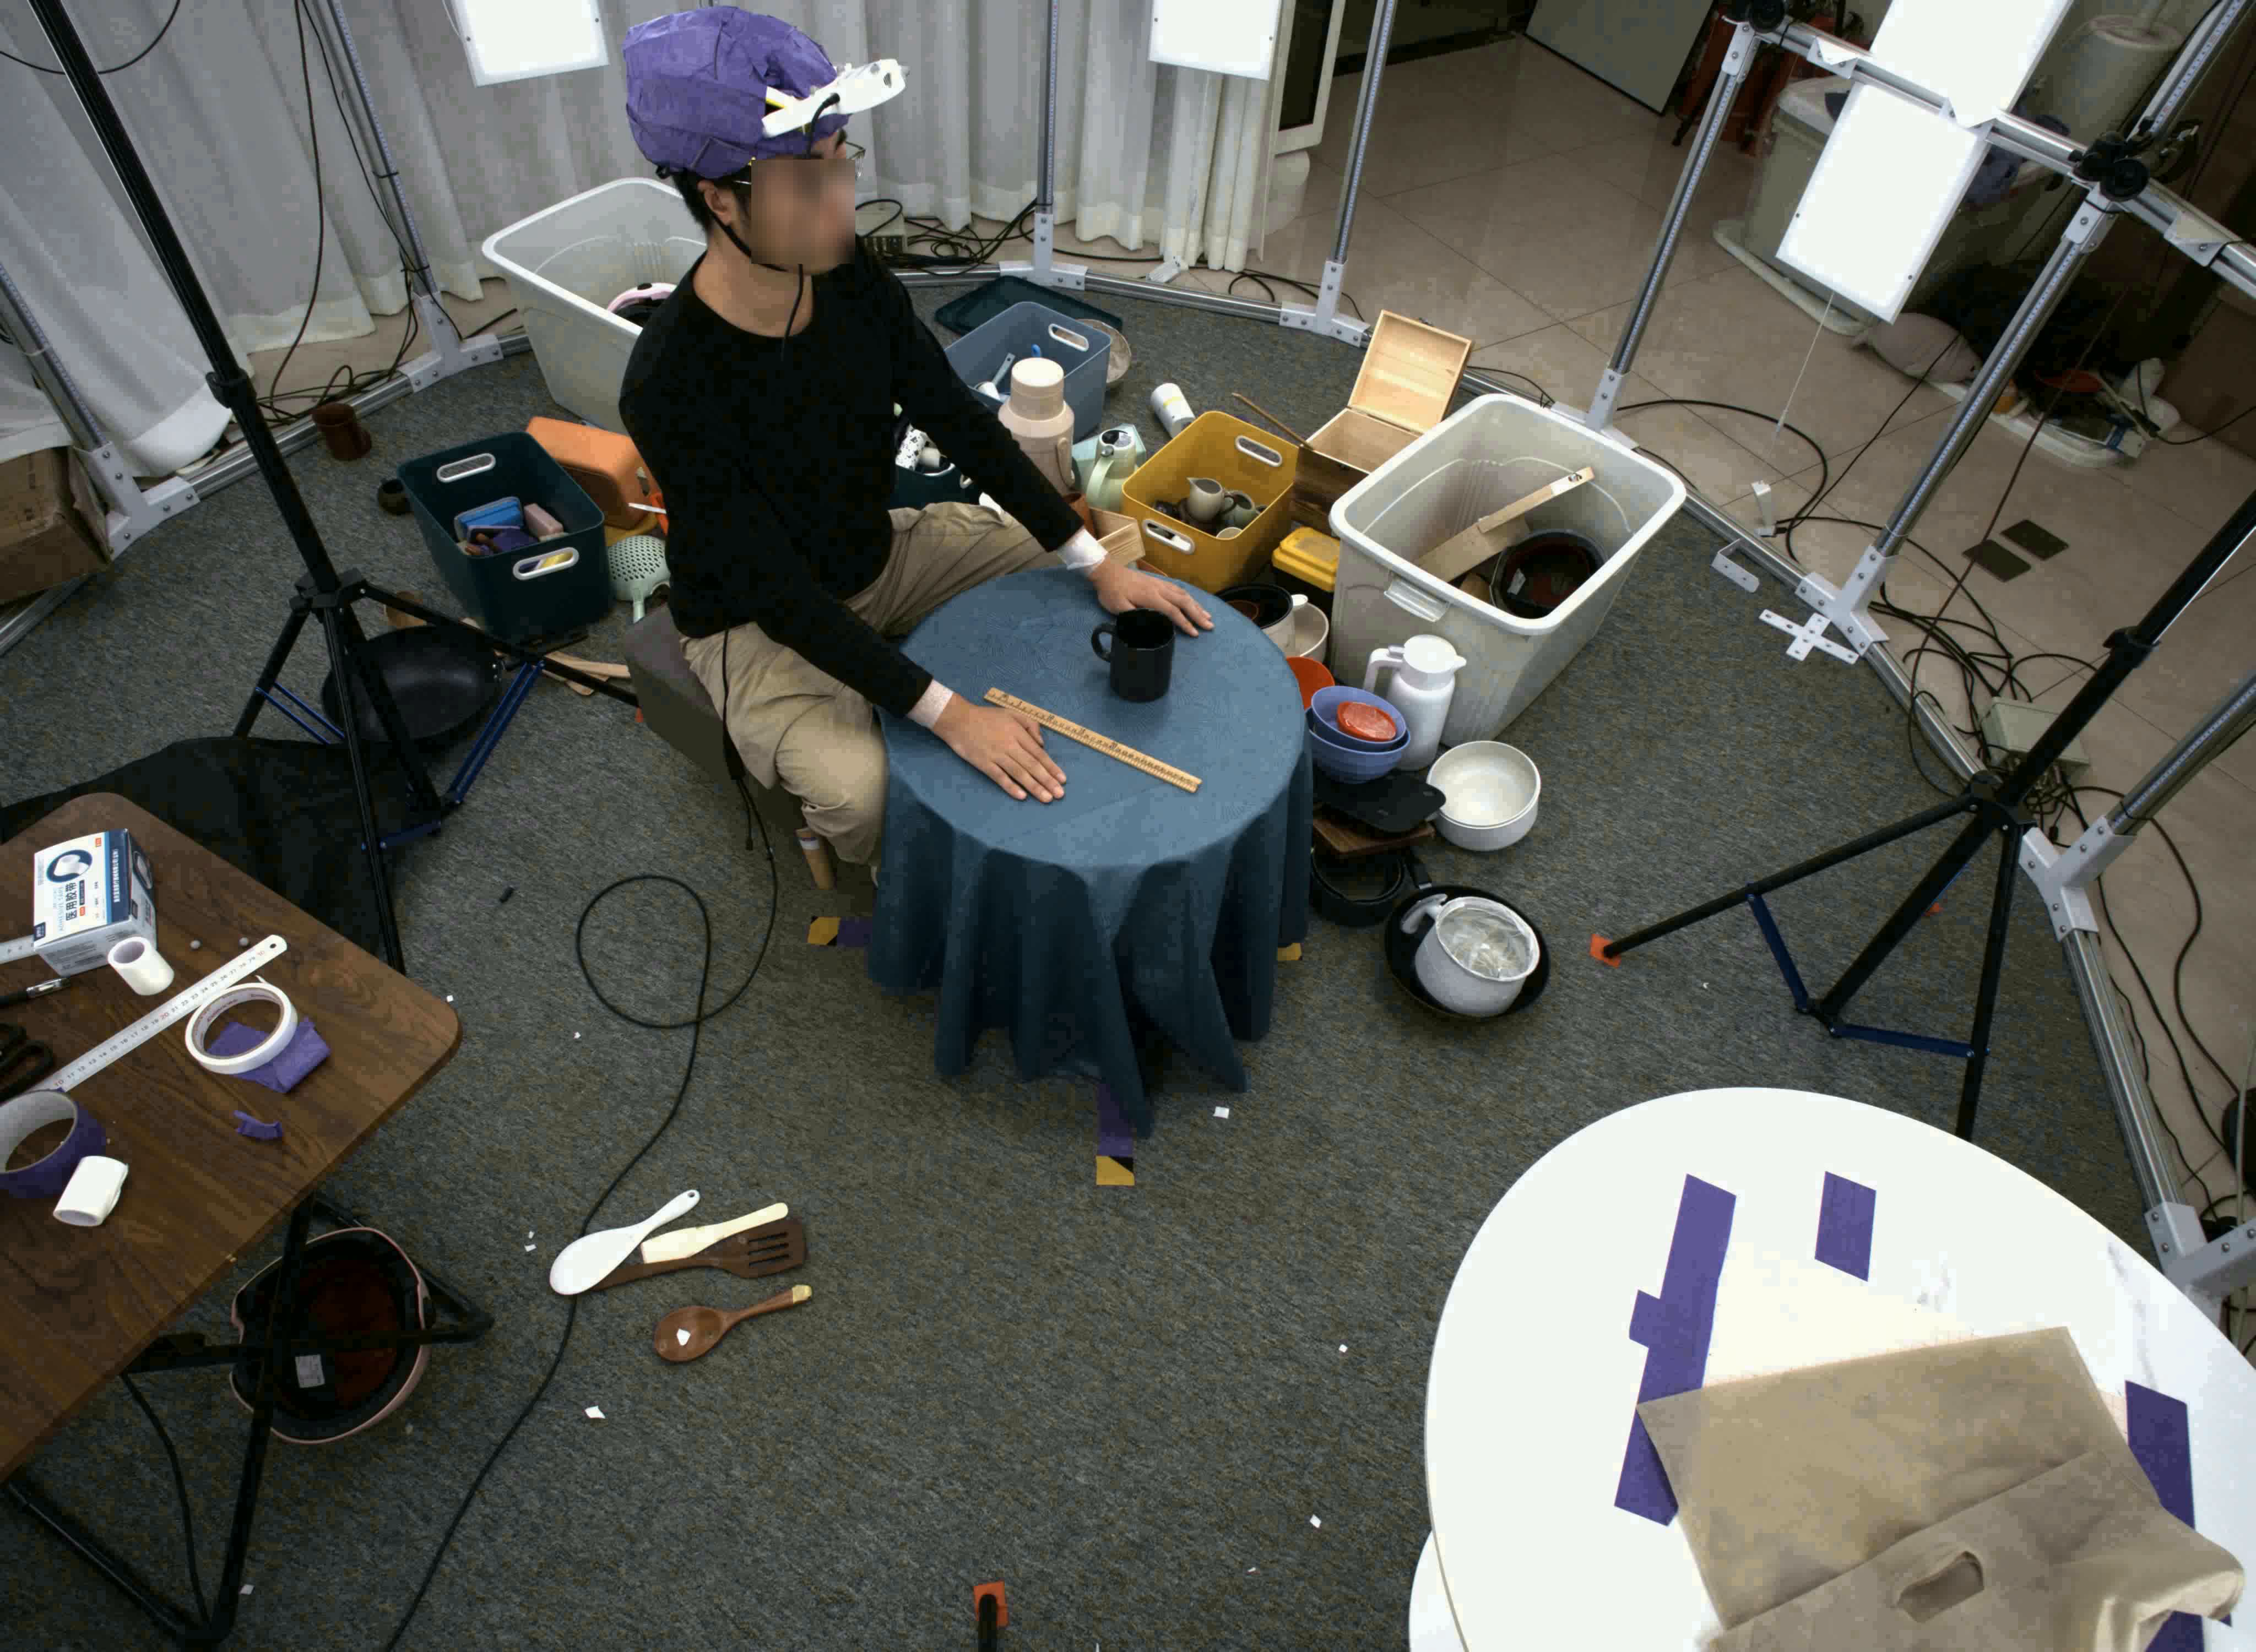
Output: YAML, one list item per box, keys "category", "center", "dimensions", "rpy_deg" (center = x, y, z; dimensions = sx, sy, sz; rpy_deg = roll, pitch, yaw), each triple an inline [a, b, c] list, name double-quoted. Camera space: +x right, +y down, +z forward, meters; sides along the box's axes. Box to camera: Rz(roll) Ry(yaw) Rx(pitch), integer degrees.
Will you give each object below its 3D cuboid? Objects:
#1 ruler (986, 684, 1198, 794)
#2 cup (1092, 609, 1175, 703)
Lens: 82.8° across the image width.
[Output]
- category: "ruler"
  center: [-0.053, -0.124, 1.768]
  dimensions: [0.335, 0.021, 0.028]
  rpy_deg: [27, 48, 18]
- category: "cup"
  center: [0.004, -0.247, 1.819]
  dimensions: [0.124, 0.103, 0.090]
  rpy_deg: [24, 54, 17]
